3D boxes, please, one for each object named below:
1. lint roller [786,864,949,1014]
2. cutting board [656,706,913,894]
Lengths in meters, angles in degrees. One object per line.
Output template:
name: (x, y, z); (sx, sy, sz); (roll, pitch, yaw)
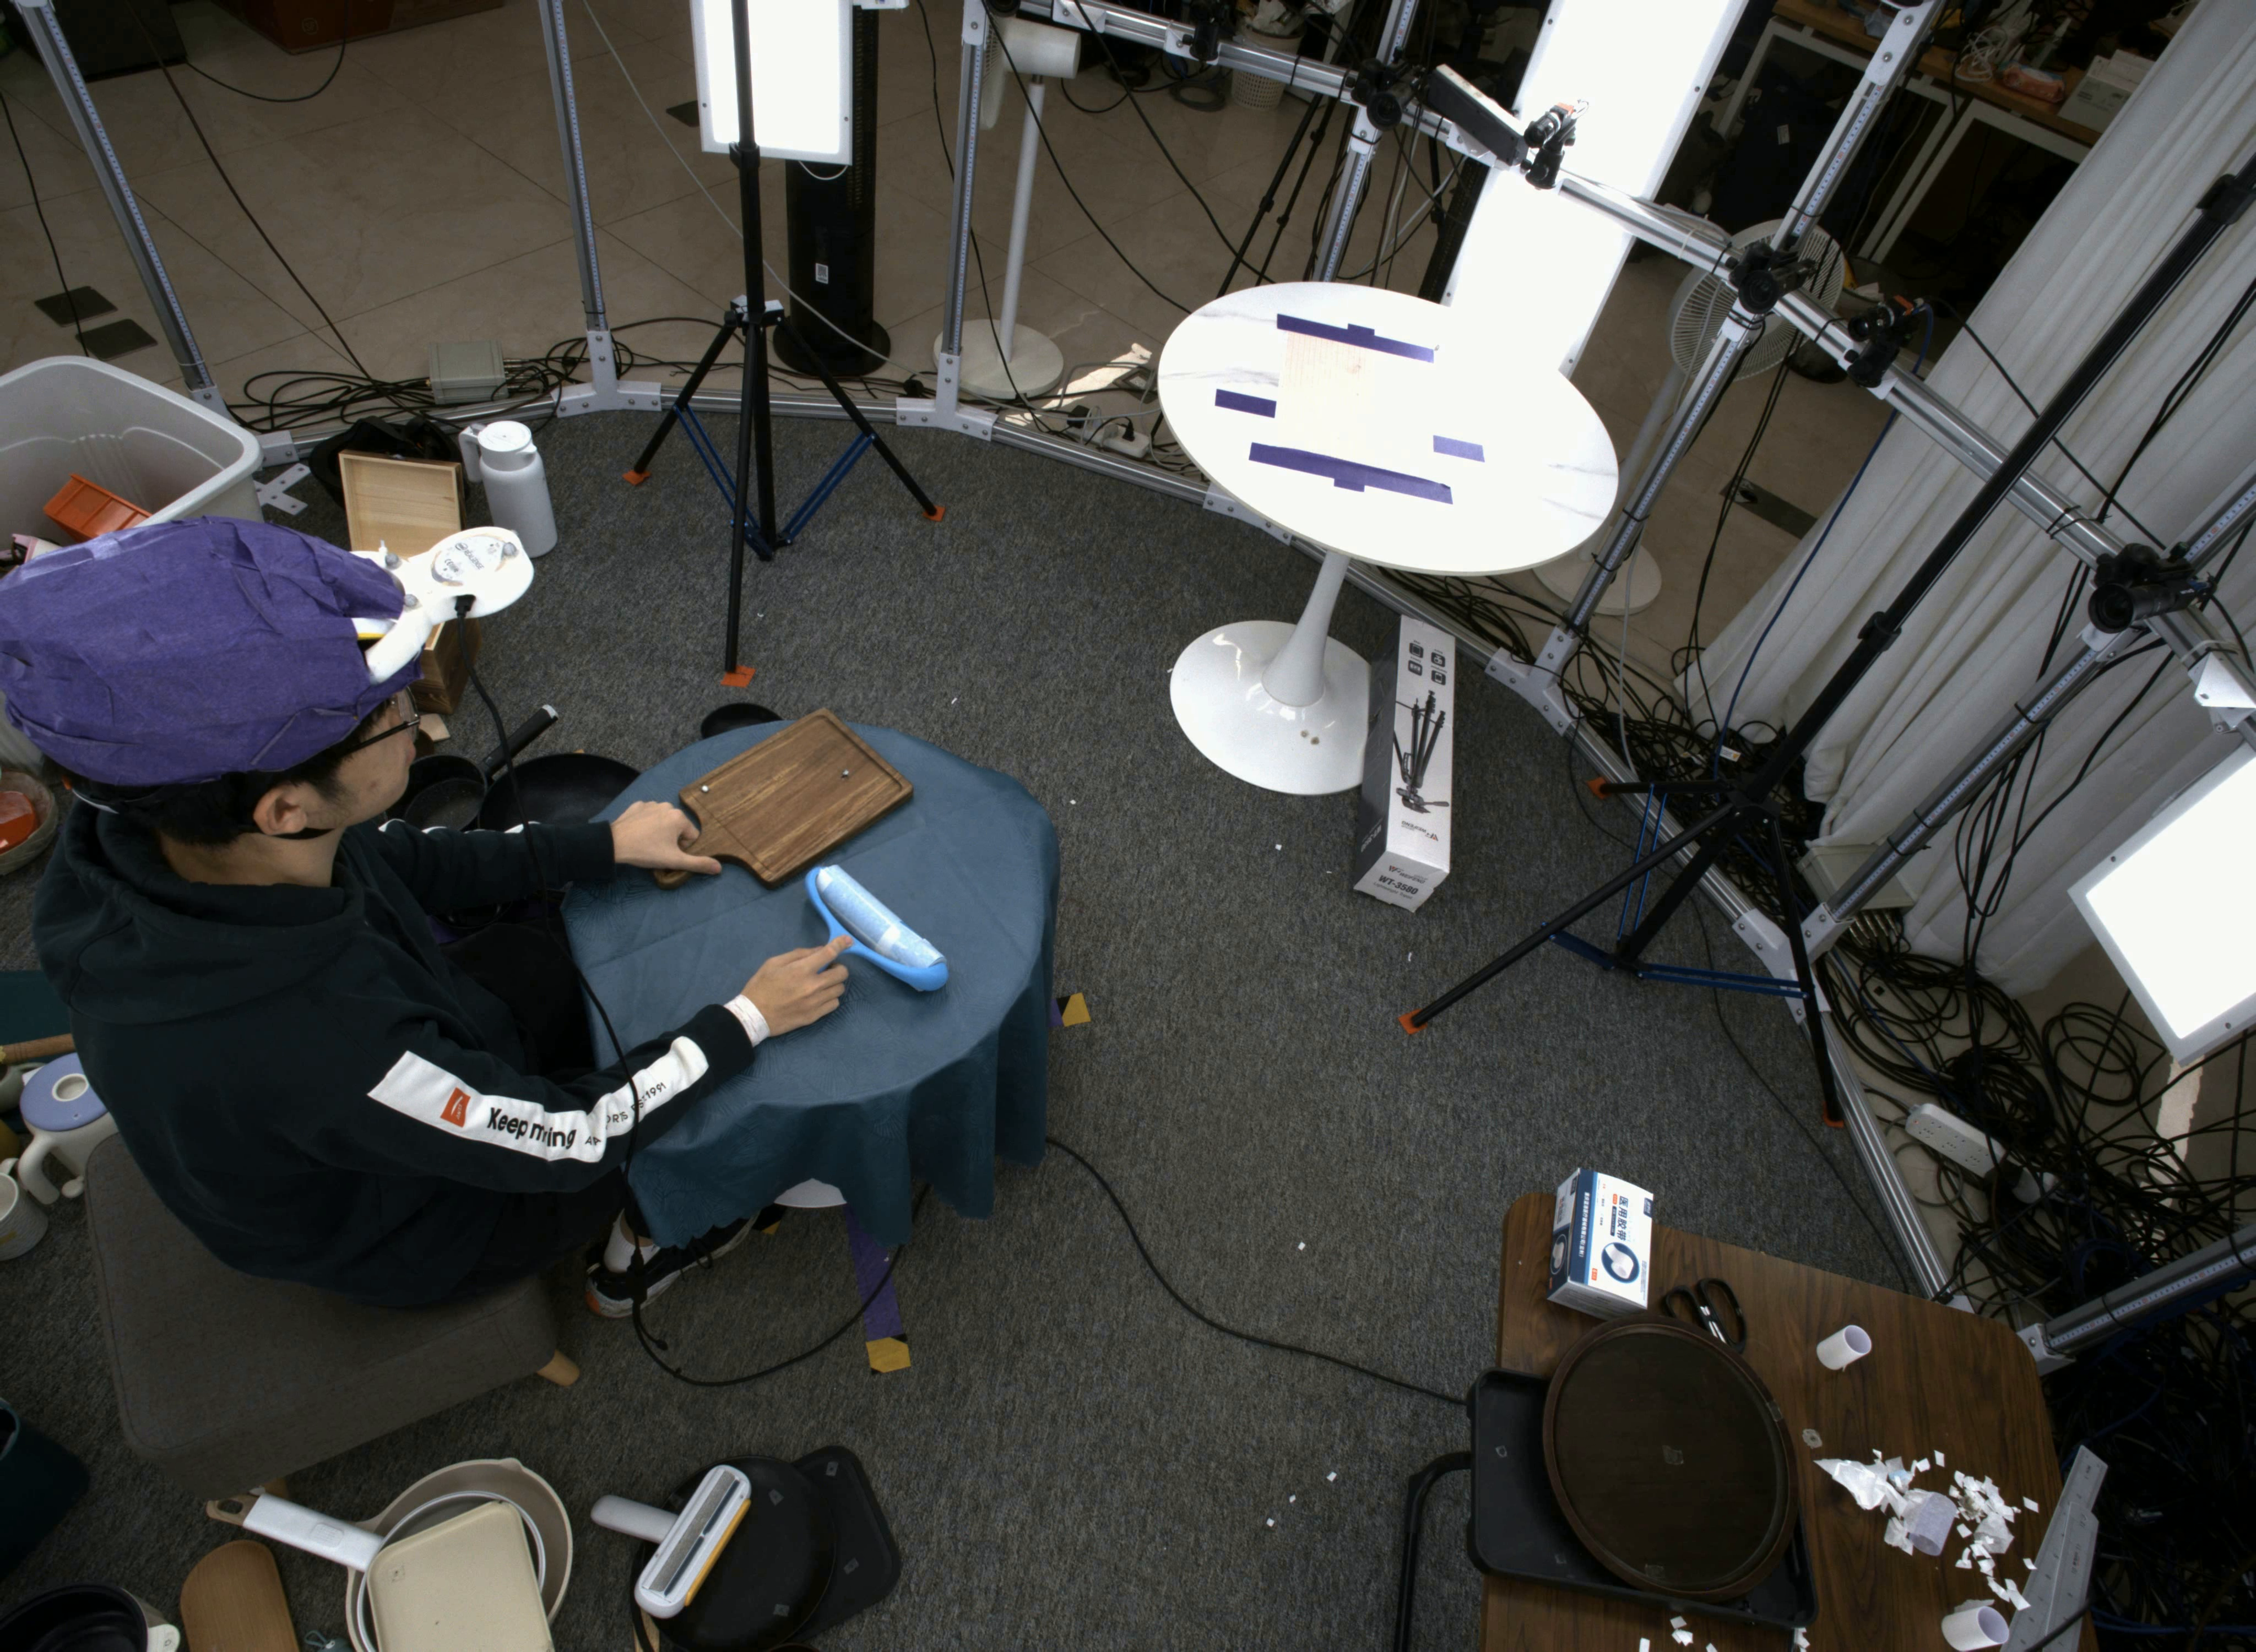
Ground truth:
lint roller: (-0.349, 0.156, 1.598); (0.225, 0.069, 0.180); (36, 53, 11)
cutting board: (-0.477, -0.020, 1.716); (0.197, 0.023, 0.352); (40, 54, 16)
